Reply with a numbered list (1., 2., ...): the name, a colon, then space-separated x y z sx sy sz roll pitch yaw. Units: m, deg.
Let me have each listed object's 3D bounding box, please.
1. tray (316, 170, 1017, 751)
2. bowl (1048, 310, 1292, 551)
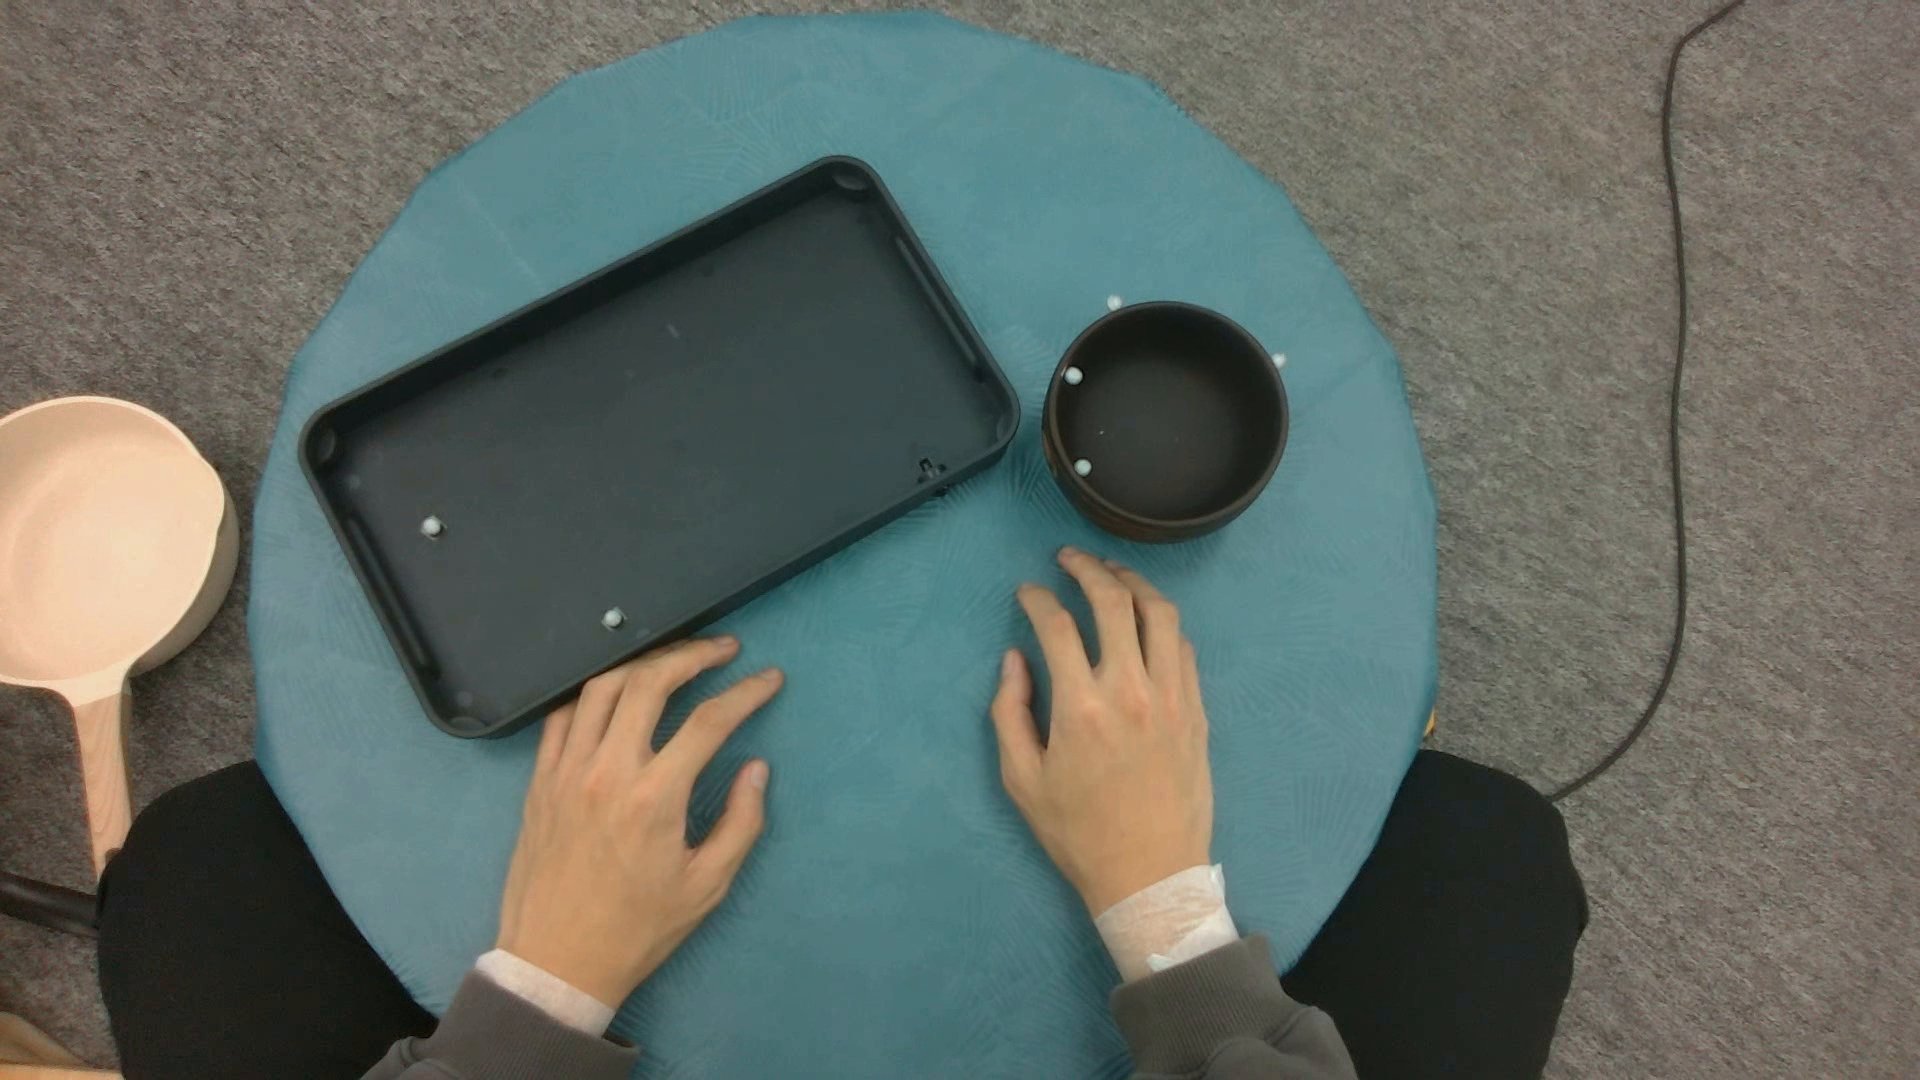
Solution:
1. tray: -0.145 -0.045 0.705 0.318 0.037 0.184 -31 79 -10
2. bowl: 0.102 -0.050 0.696 0.118 0.069 0.118 0 77 -2
